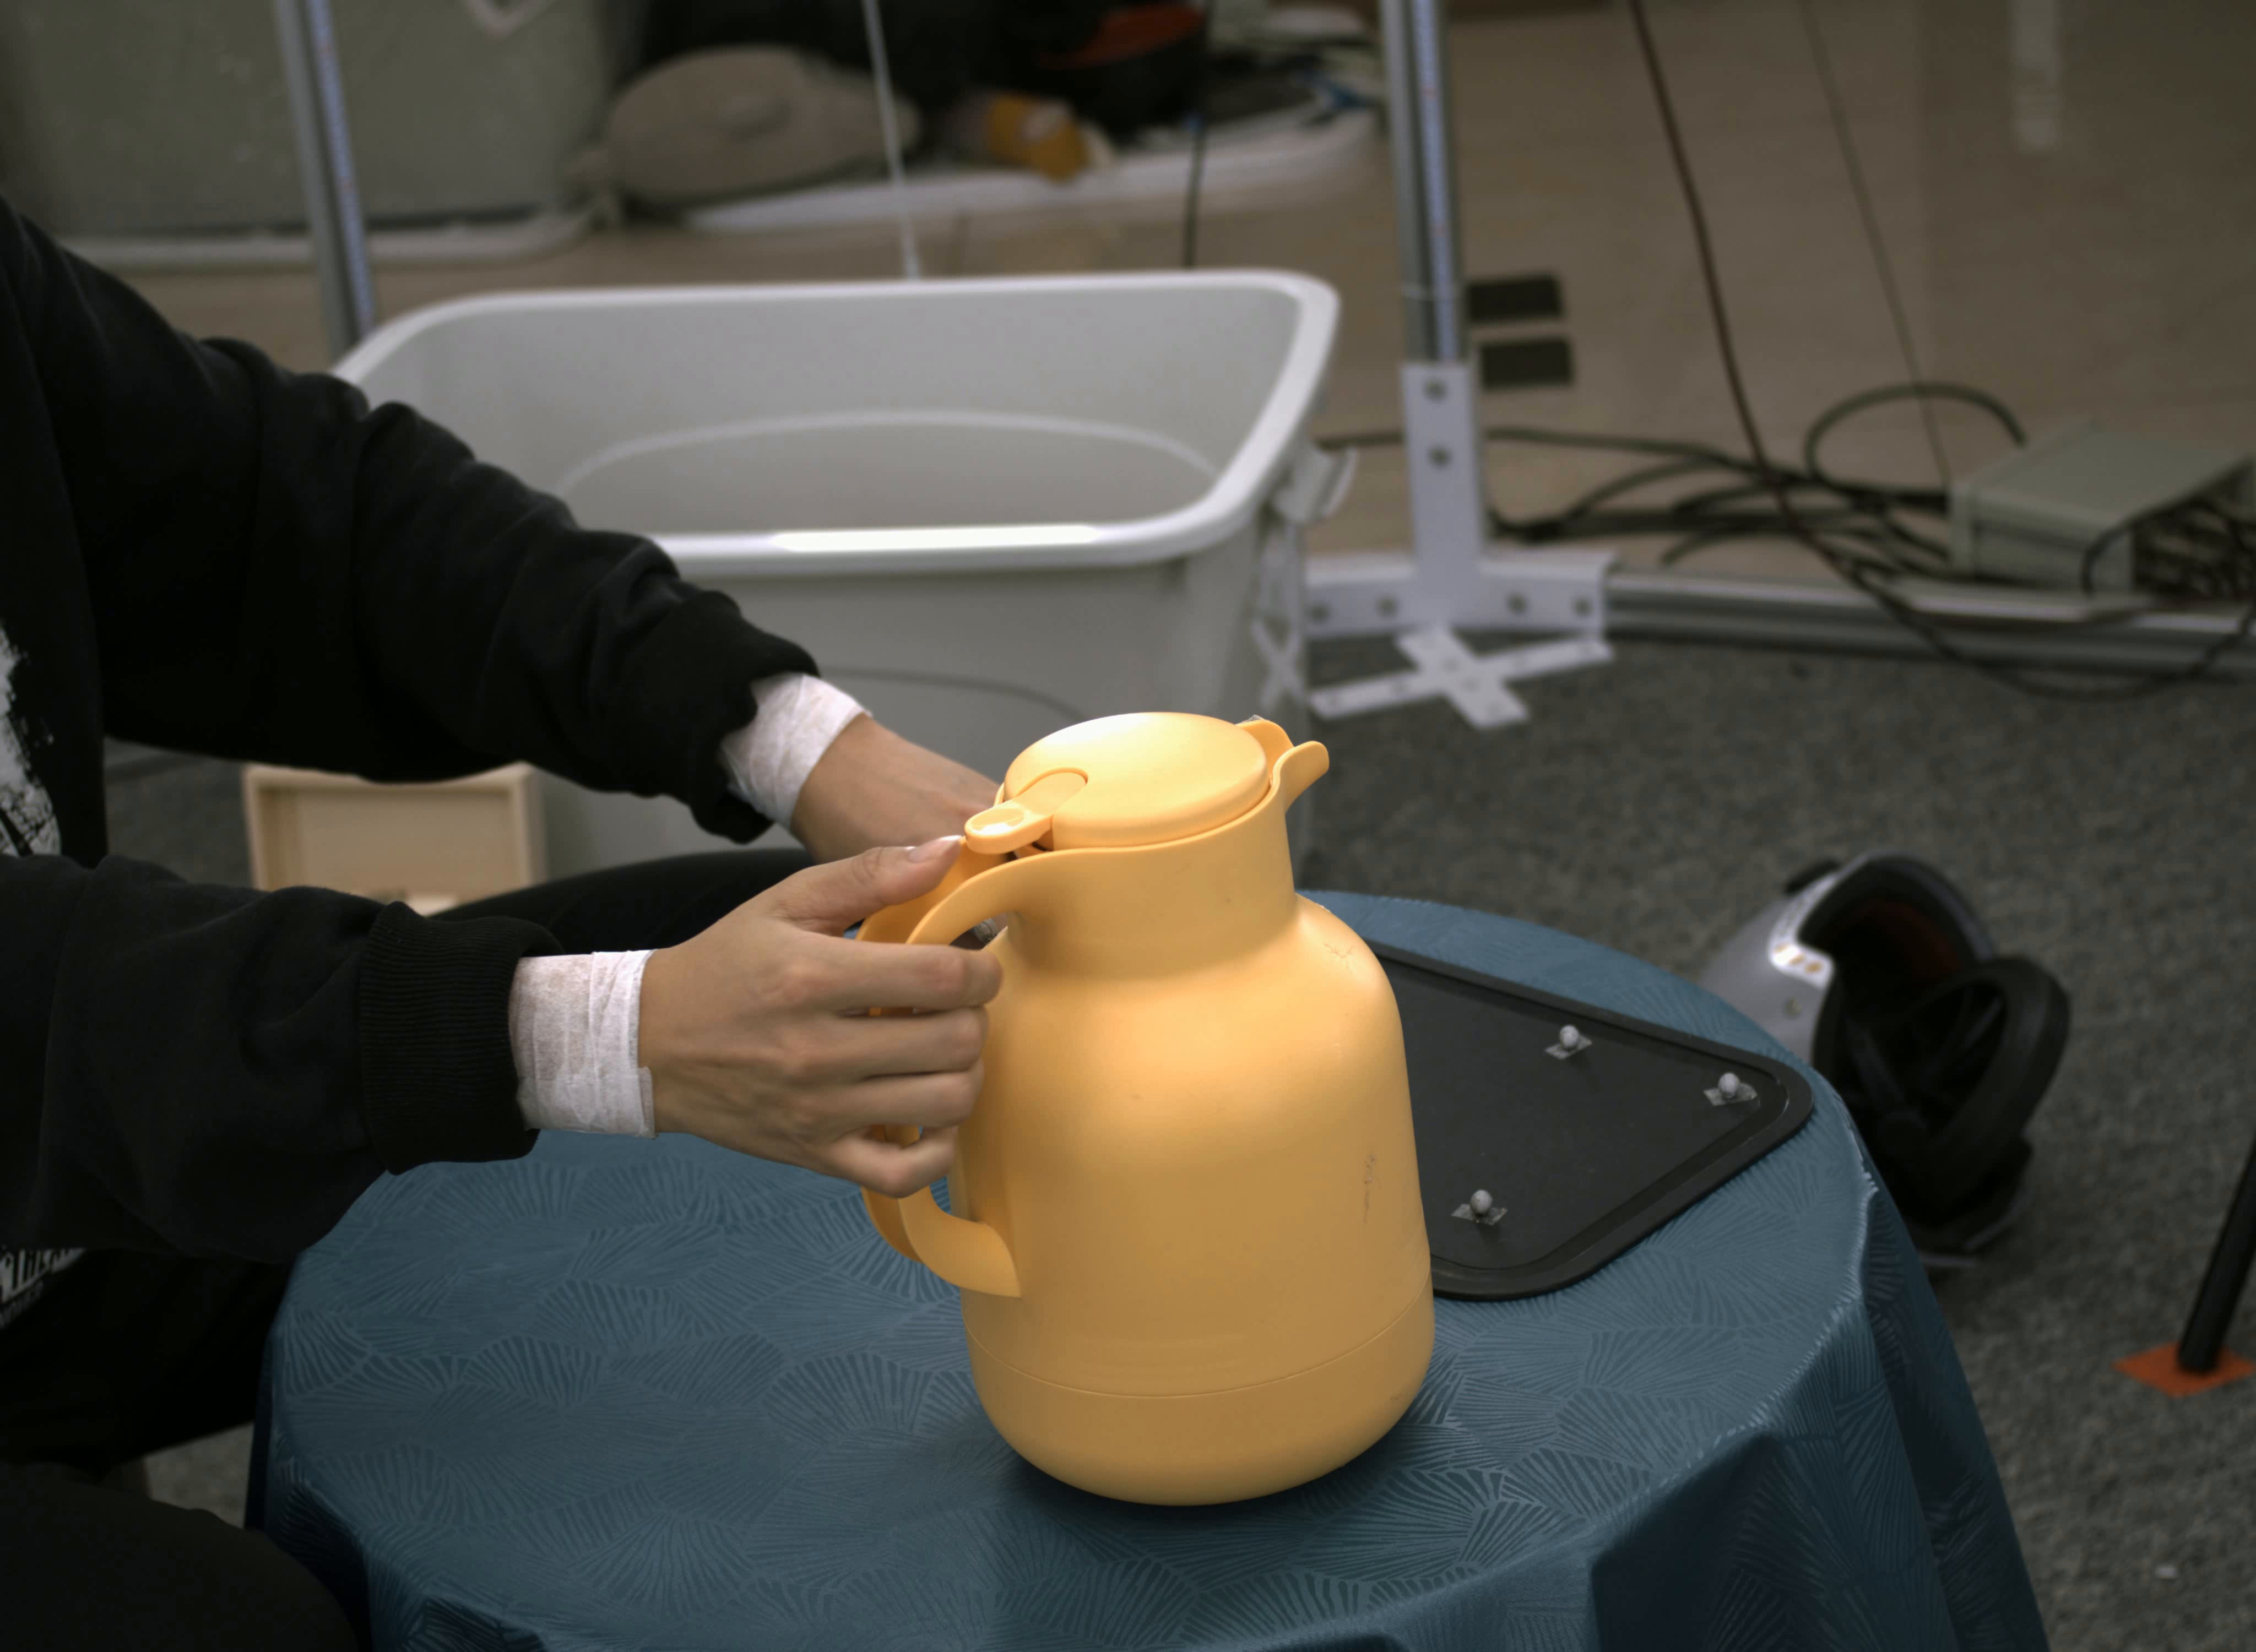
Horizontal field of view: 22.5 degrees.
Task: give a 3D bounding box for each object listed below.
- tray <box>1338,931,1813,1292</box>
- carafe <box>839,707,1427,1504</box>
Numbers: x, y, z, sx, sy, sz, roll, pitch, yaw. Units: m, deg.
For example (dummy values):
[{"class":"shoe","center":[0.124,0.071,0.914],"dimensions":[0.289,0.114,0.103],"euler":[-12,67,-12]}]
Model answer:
[{"class":"tray","center":[0.090,0.103,2.197],"dimensions":[0.323,0.010,0.209],"euler":[17,33,40]},{"class":"carafe","center":[-0.002,0.096,1.926],"dimensions":[0.201,0.264,0.162],"euler":[-19,26,-28]}]
